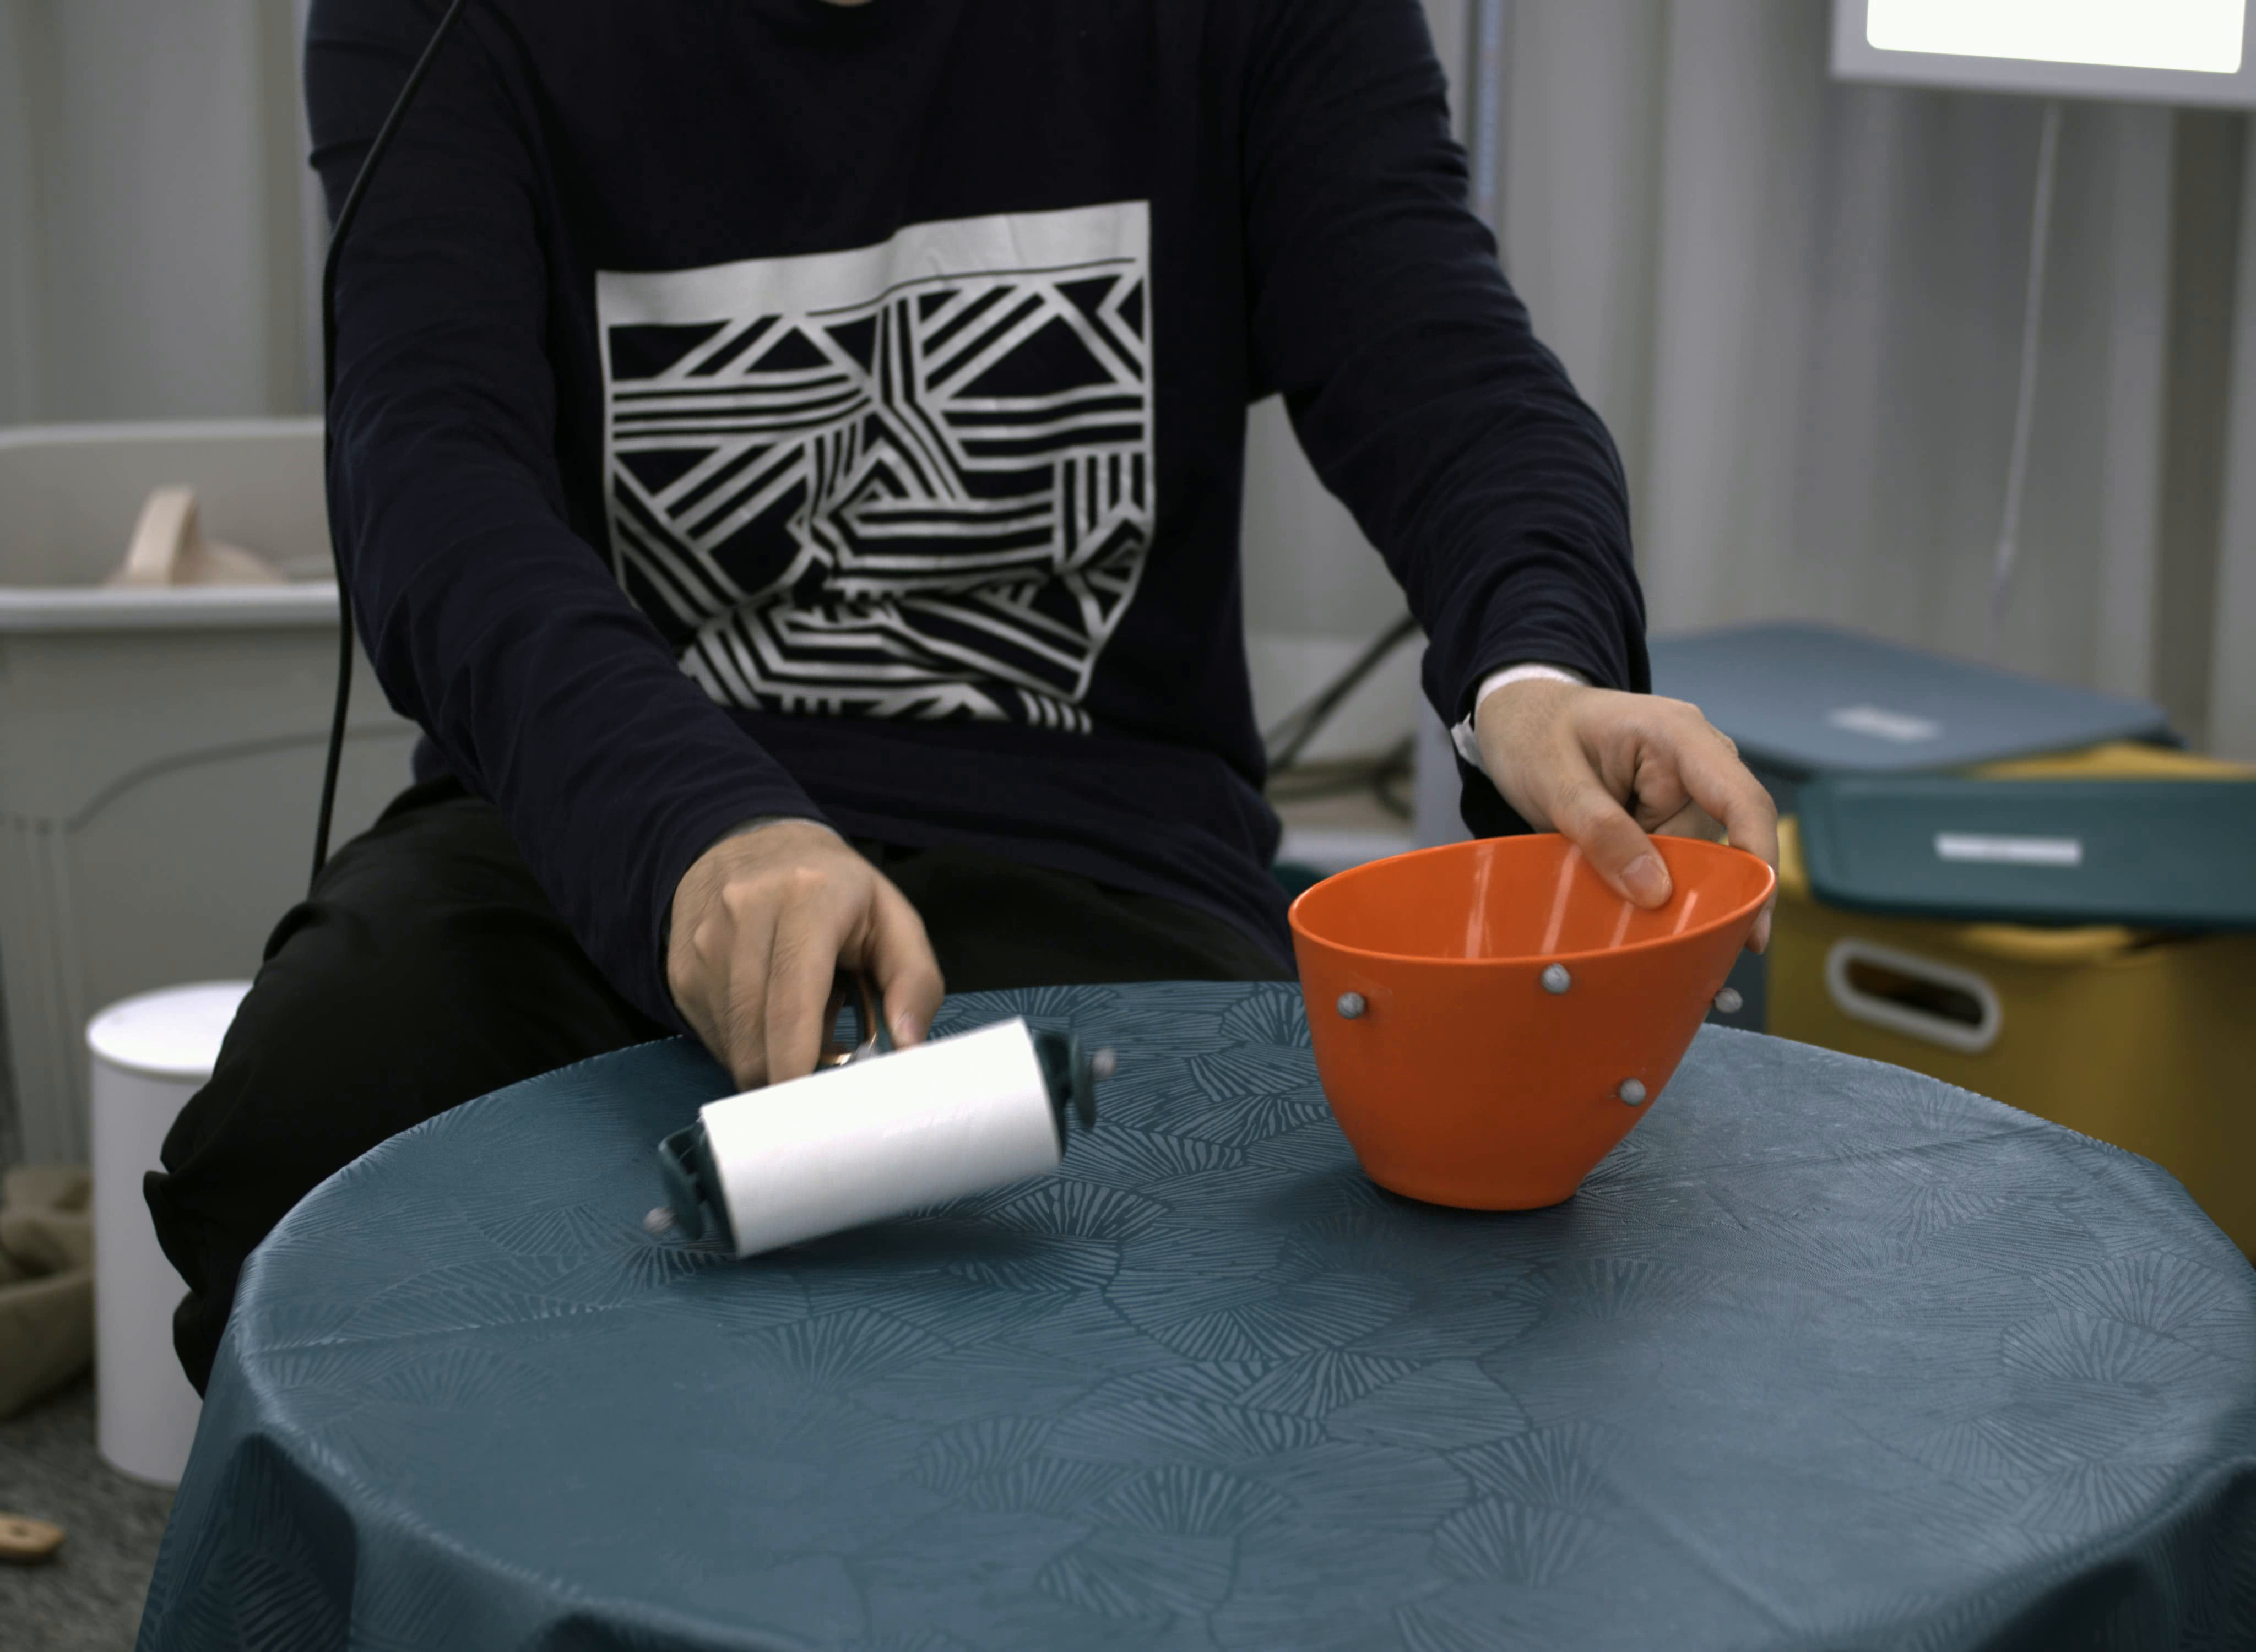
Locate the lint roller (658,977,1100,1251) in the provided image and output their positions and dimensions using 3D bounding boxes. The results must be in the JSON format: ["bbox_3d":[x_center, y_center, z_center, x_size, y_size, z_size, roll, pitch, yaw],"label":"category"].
[{"bbox_3d":[-0.087,0.066,1.626,0.134,0.049,0.178,-16,25,-7],"label":"lint roller"}]

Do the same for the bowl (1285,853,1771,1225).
[{"bbox_3d":[0.119,0.065,1.621,0.147,0.105,0.147,5,12,0],"label":"bowl"}]
